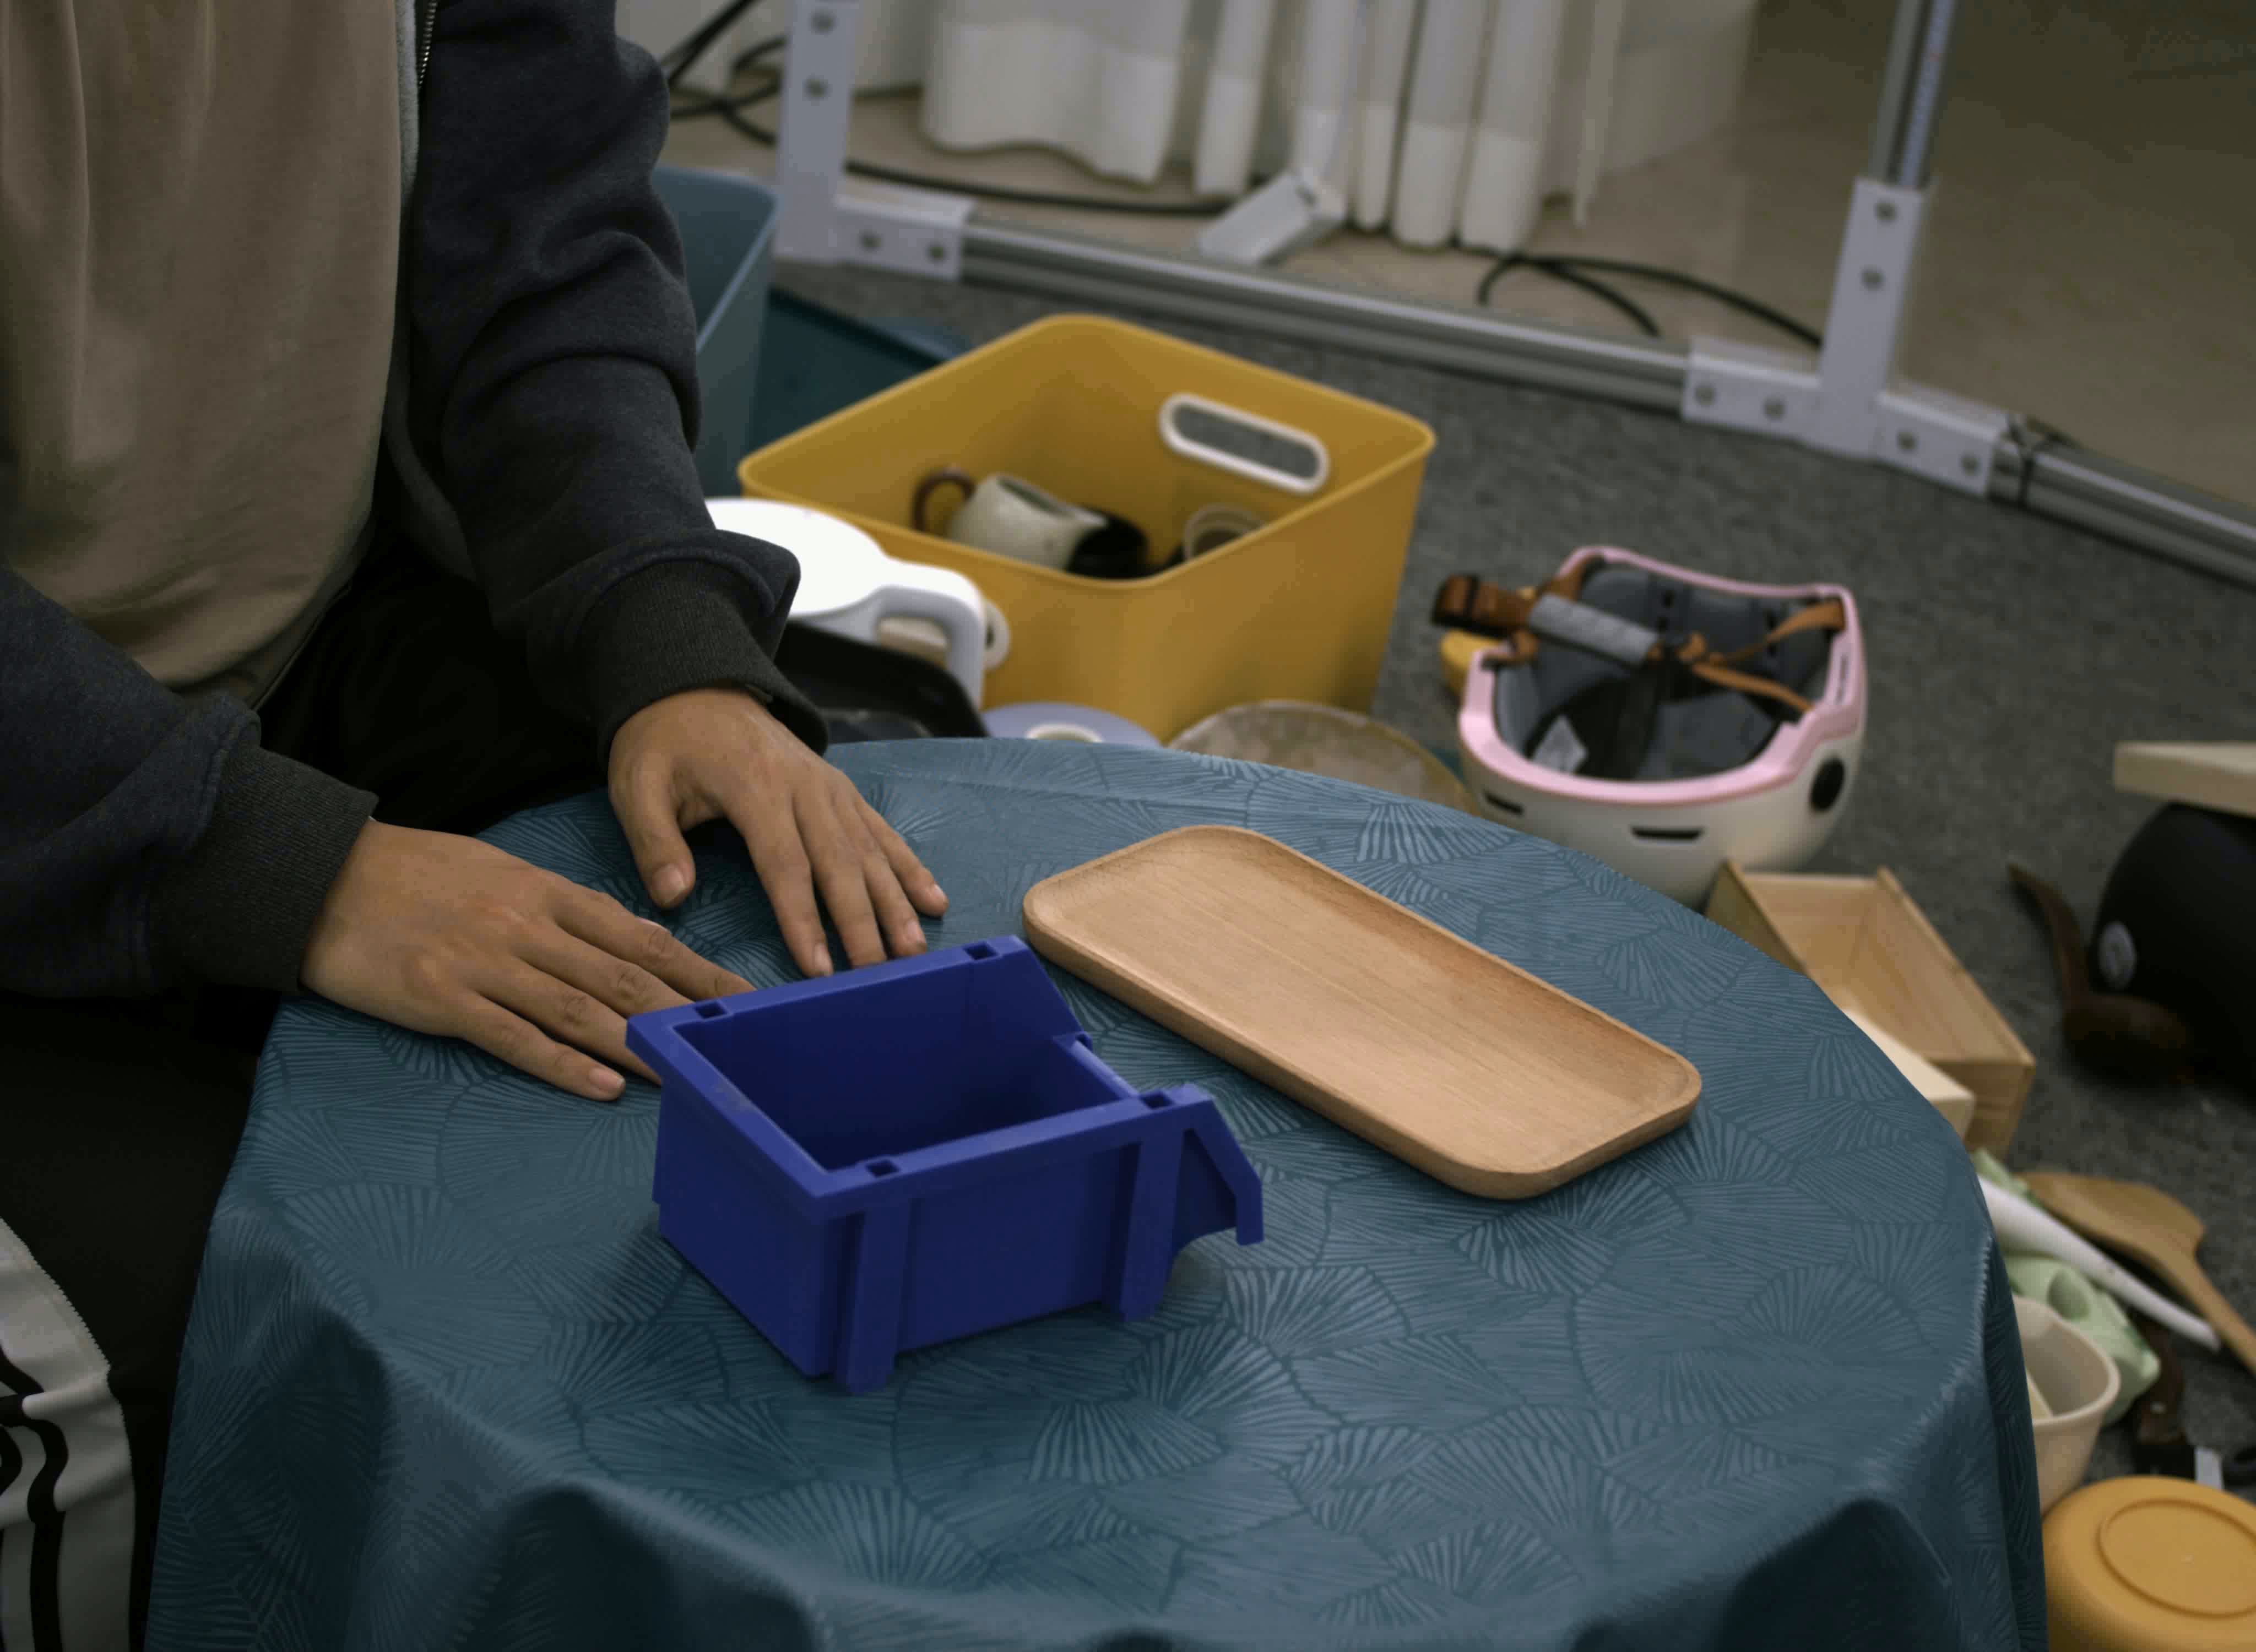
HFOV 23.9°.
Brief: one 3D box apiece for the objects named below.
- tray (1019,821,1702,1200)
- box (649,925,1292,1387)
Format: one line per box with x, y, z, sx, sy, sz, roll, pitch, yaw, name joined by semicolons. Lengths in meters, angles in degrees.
0.081;0.064;1.917;0.252;0.023;0.130;28;31;37;tray
-0.052;0.103;1.739;0.178;0.081;0.125;-14;32;-28;box
